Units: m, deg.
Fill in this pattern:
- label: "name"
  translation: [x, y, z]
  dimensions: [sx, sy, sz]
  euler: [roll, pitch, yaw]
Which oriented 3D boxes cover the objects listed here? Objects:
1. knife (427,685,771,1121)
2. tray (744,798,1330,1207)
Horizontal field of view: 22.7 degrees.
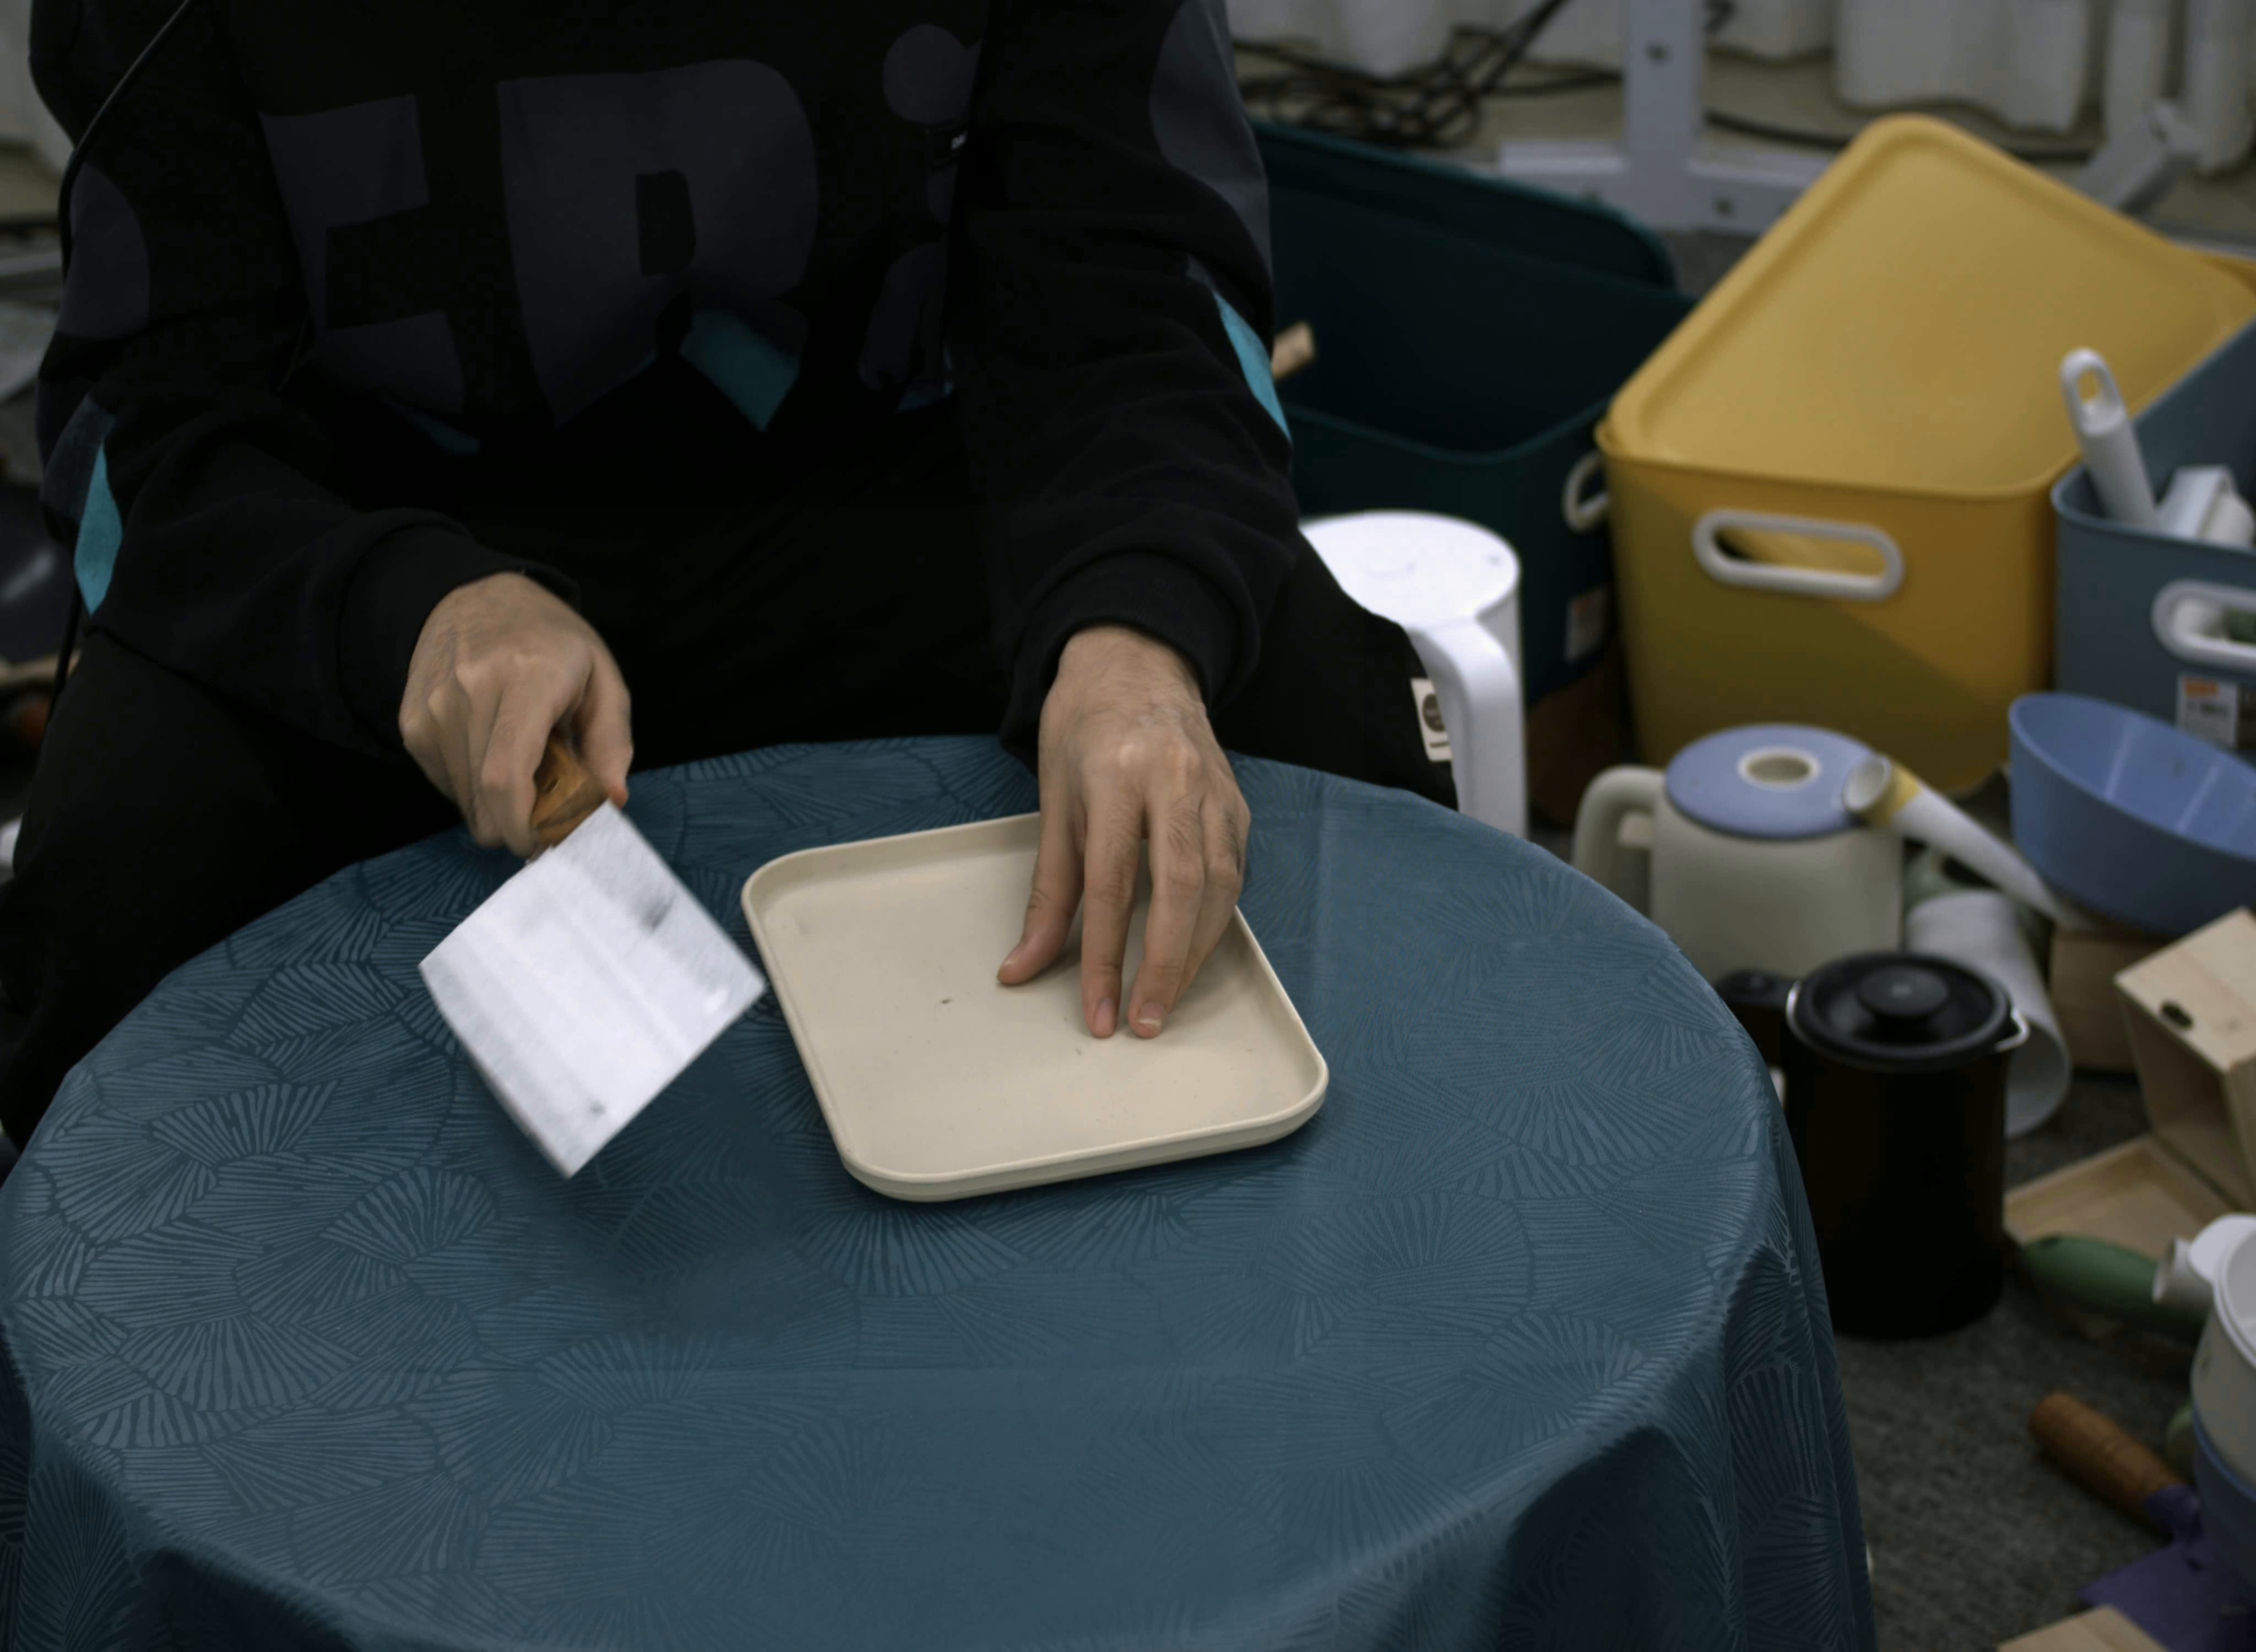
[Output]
- label: "knife"
  translation: [-0.199, 0.027, 1.928]
  dimensions: [0.093, 0.021, 0.307]
  euler: [-45, 29, -2]
- label: "tray"
  translation: [-0.035, 0.060, 1.962]
  dimensions: [0.171, 0.017, 0.242]
  euler: [-10, 29, -10]
